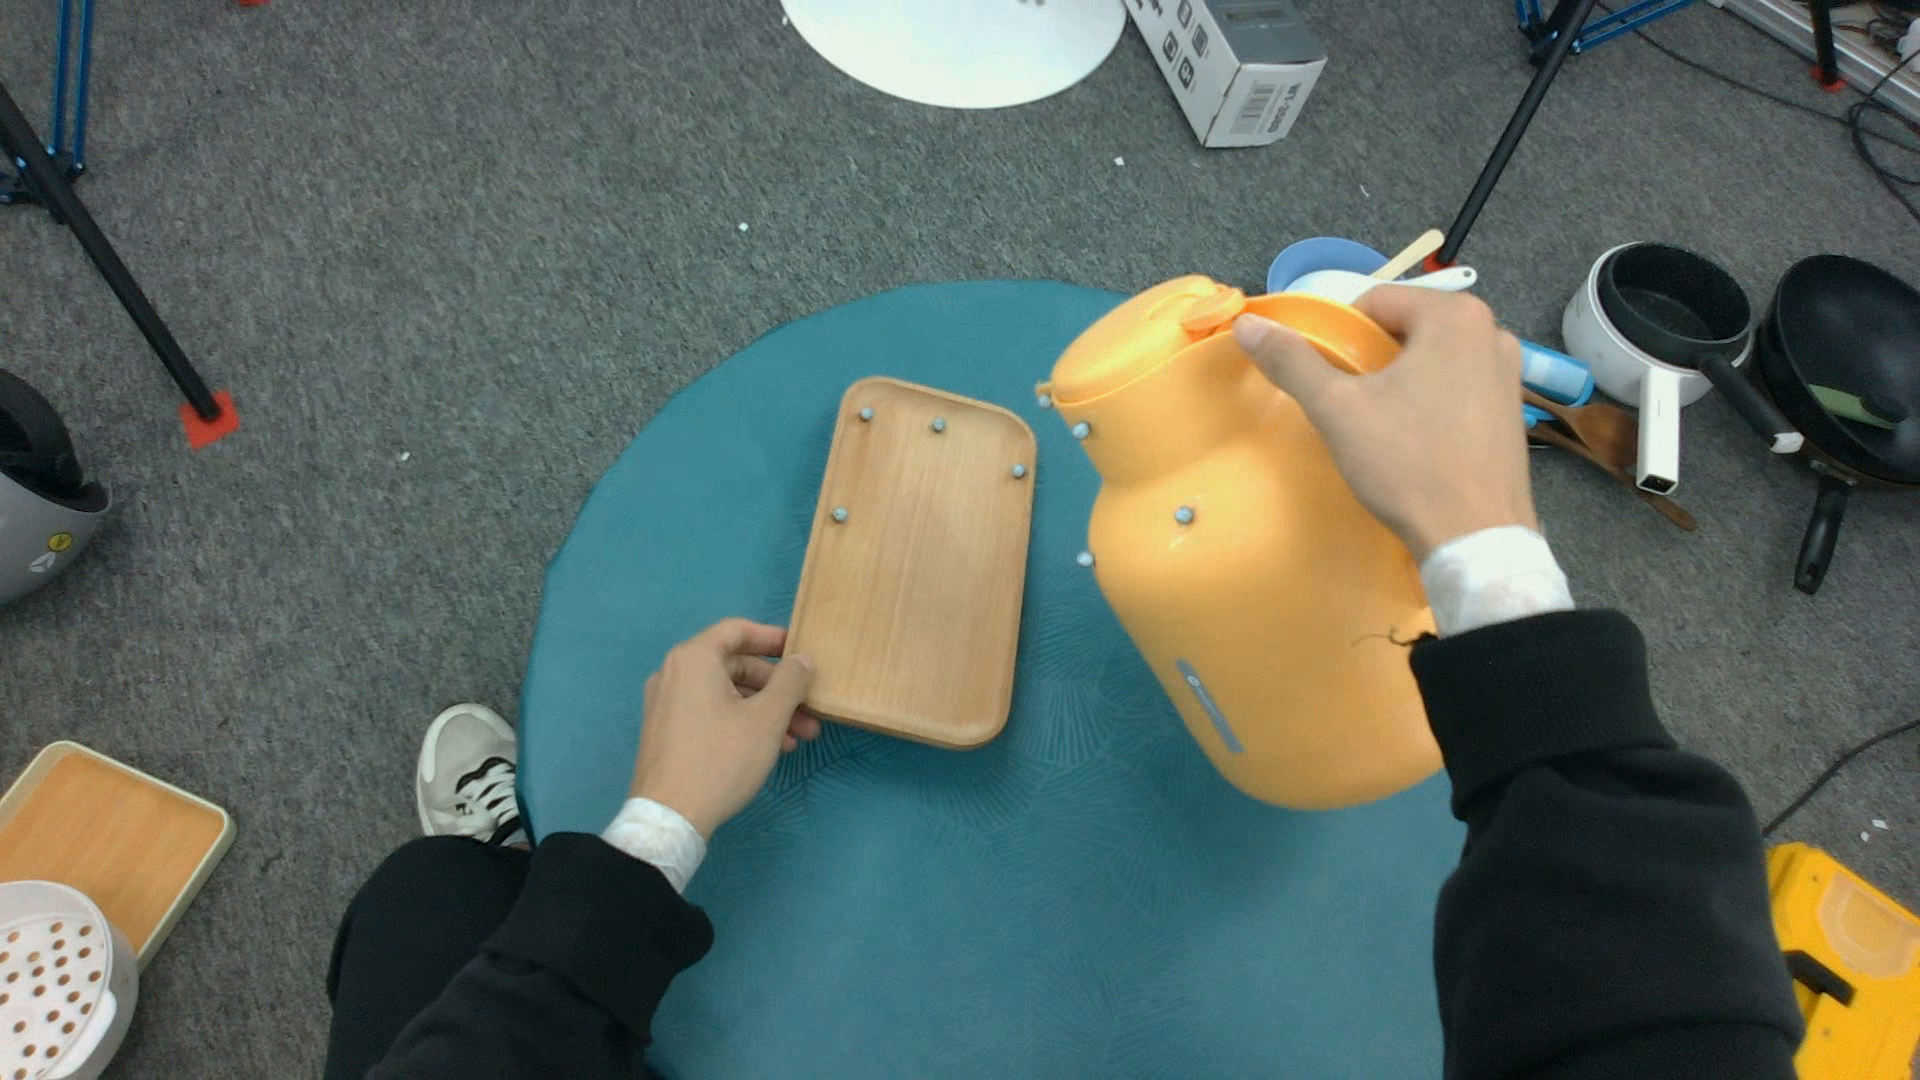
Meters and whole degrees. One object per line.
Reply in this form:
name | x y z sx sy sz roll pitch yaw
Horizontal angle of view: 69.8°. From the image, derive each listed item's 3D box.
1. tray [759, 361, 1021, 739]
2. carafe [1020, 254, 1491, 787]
tray | -0.035 -0.002 0.799 0.130 0.023 0.252 14 52 -7
carafe | 0.150 -0.013 0.661 0.164 0.202 0.260 -48 113 -28
